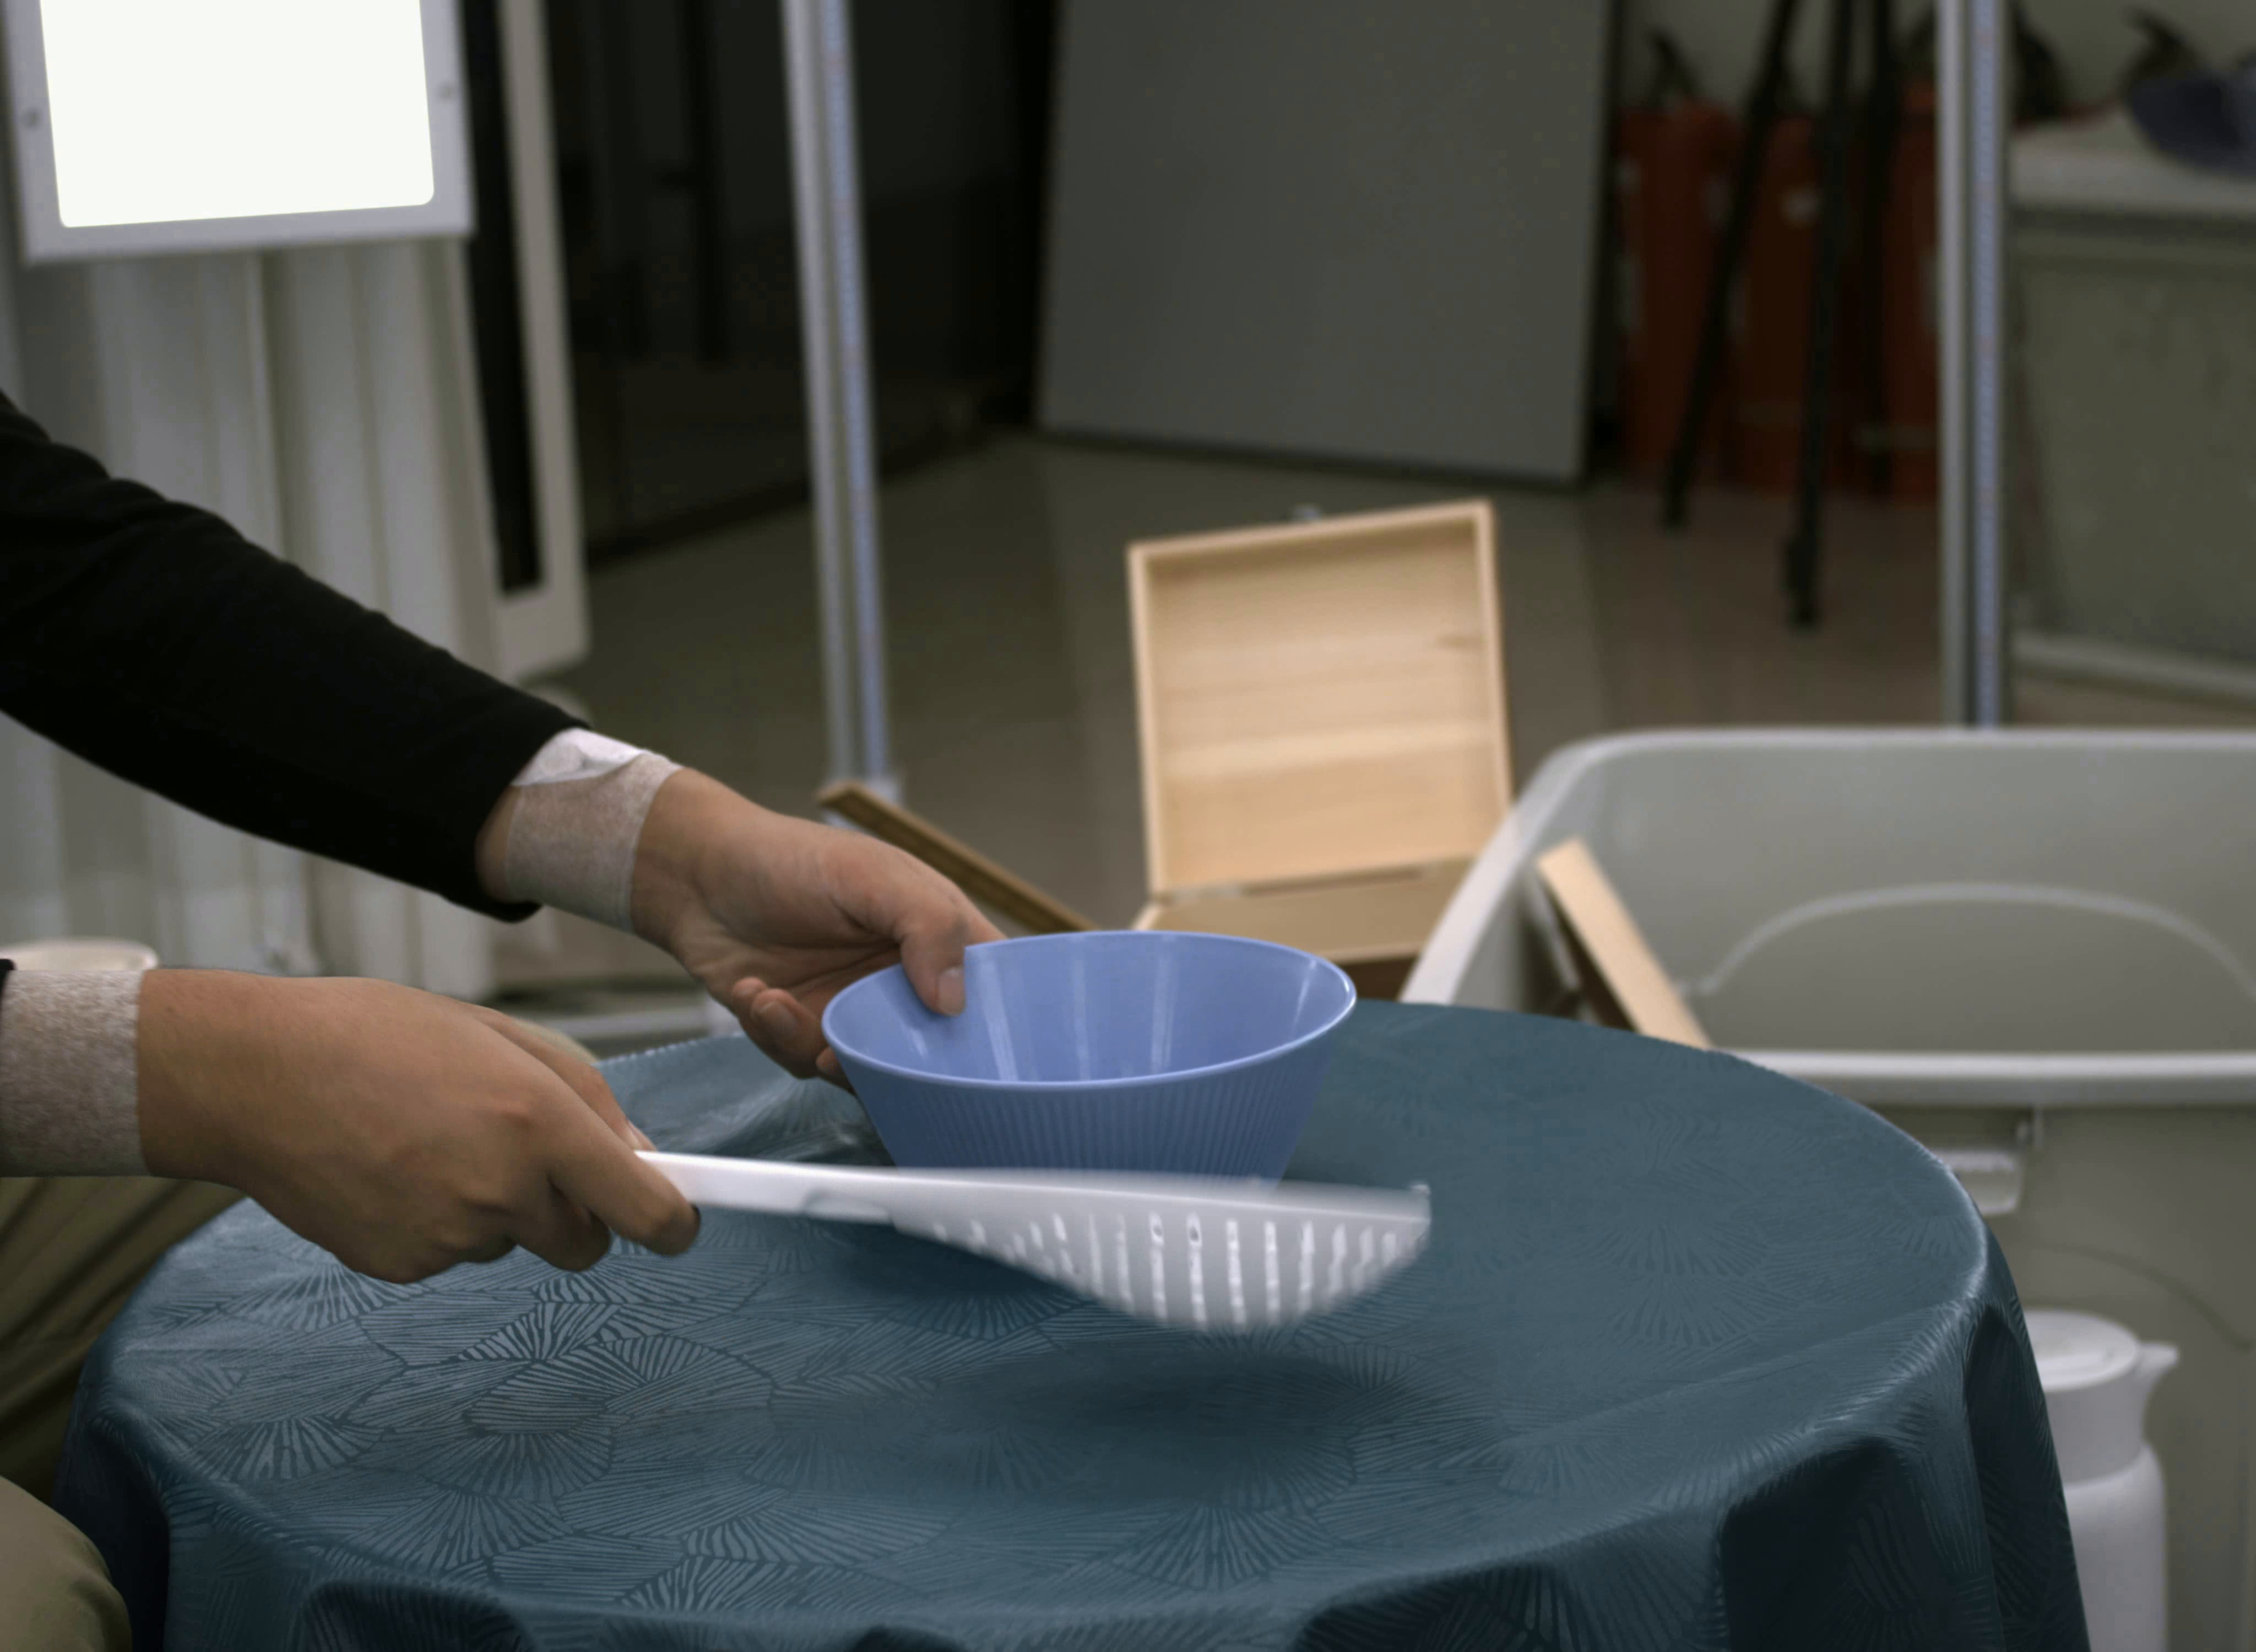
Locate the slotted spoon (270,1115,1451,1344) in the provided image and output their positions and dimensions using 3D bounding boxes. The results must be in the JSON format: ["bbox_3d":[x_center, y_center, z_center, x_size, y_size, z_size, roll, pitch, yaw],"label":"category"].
[{"bbox_3d":[-0.079,0.108,1.571,0.347,0.046,0.135,10,-2,8],"label":"slotted spoon"}]

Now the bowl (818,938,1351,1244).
[{"bbox_3d":[-0.012,0.089,1.756,0.174,0.071,0.176,-5,13,0],"label":"bowl"}]
